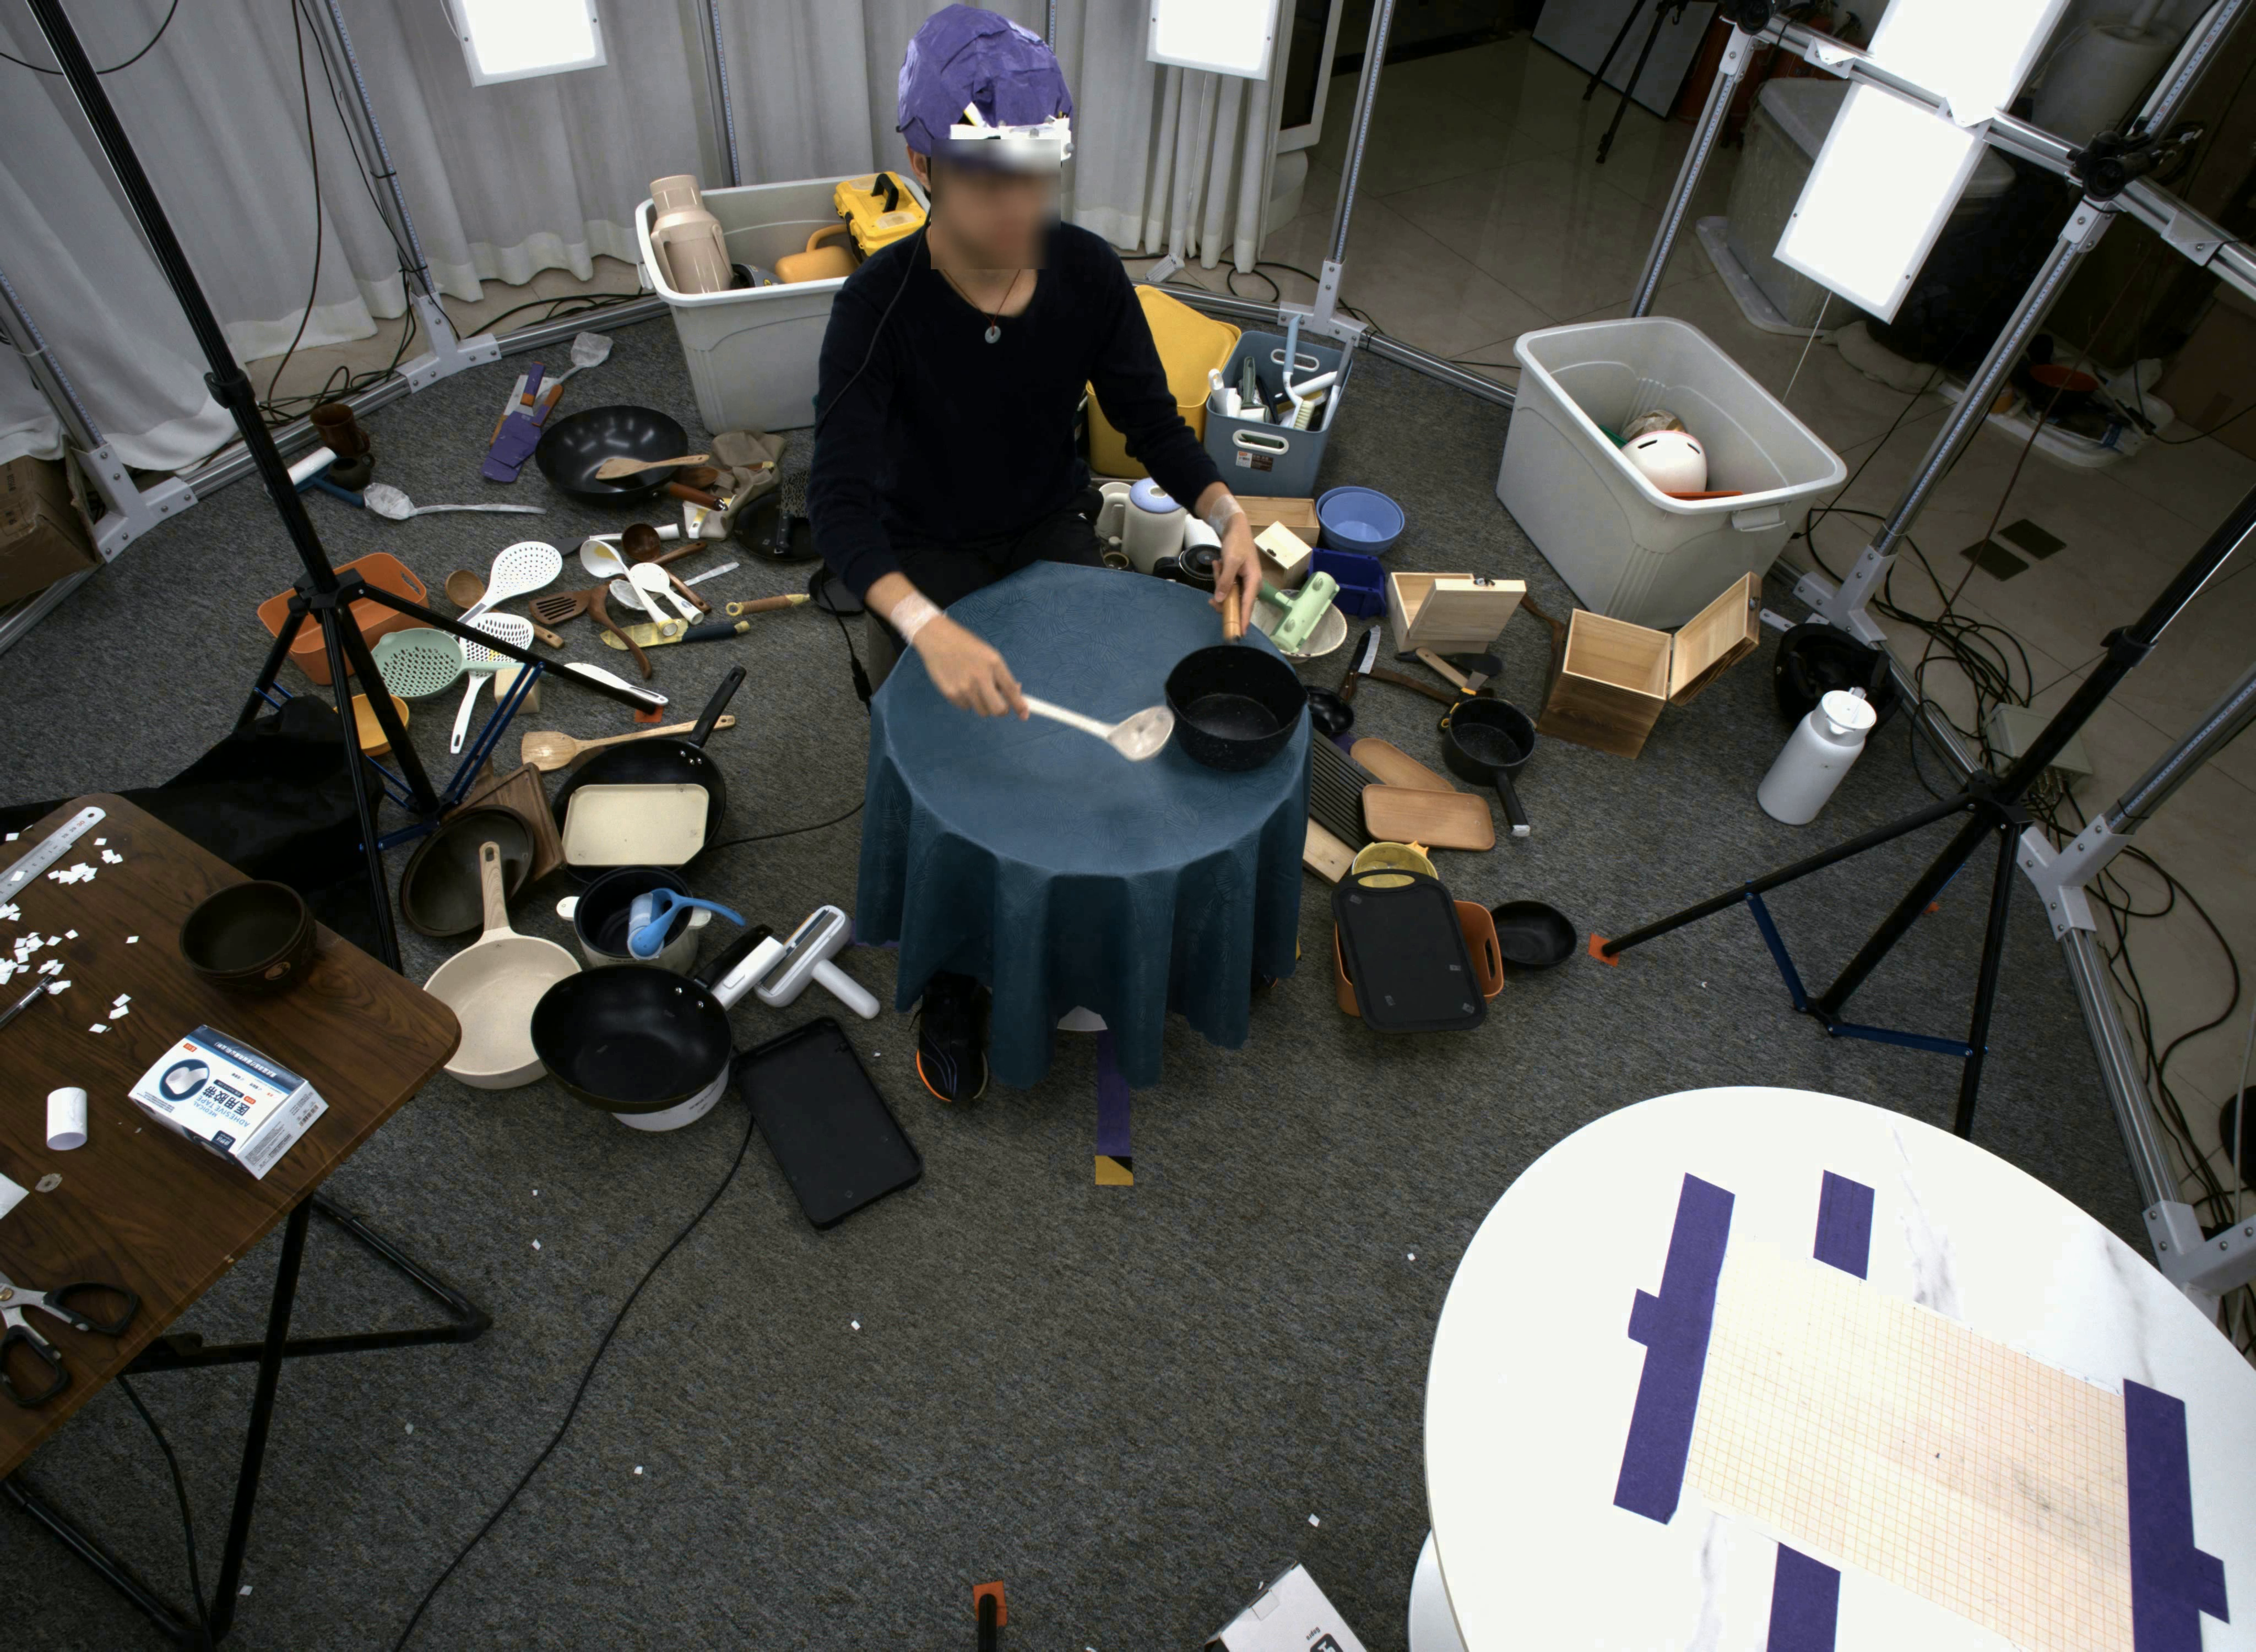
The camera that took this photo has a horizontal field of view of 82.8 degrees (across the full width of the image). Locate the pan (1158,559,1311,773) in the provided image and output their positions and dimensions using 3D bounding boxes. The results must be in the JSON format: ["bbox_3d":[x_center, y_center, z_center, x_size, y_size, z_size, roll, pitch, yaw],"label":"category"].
[{"bbox_3d":[0.142,-0.225,1.804,0.207,0.105,0.351,1,50,-2],"label":"pan"}]

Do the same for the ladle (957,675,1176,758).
[{"bbox_3d":[-0.075,-0.157,1.608,0.273,0.068,0.091,19,50,-11],"label":"ladle"}]
